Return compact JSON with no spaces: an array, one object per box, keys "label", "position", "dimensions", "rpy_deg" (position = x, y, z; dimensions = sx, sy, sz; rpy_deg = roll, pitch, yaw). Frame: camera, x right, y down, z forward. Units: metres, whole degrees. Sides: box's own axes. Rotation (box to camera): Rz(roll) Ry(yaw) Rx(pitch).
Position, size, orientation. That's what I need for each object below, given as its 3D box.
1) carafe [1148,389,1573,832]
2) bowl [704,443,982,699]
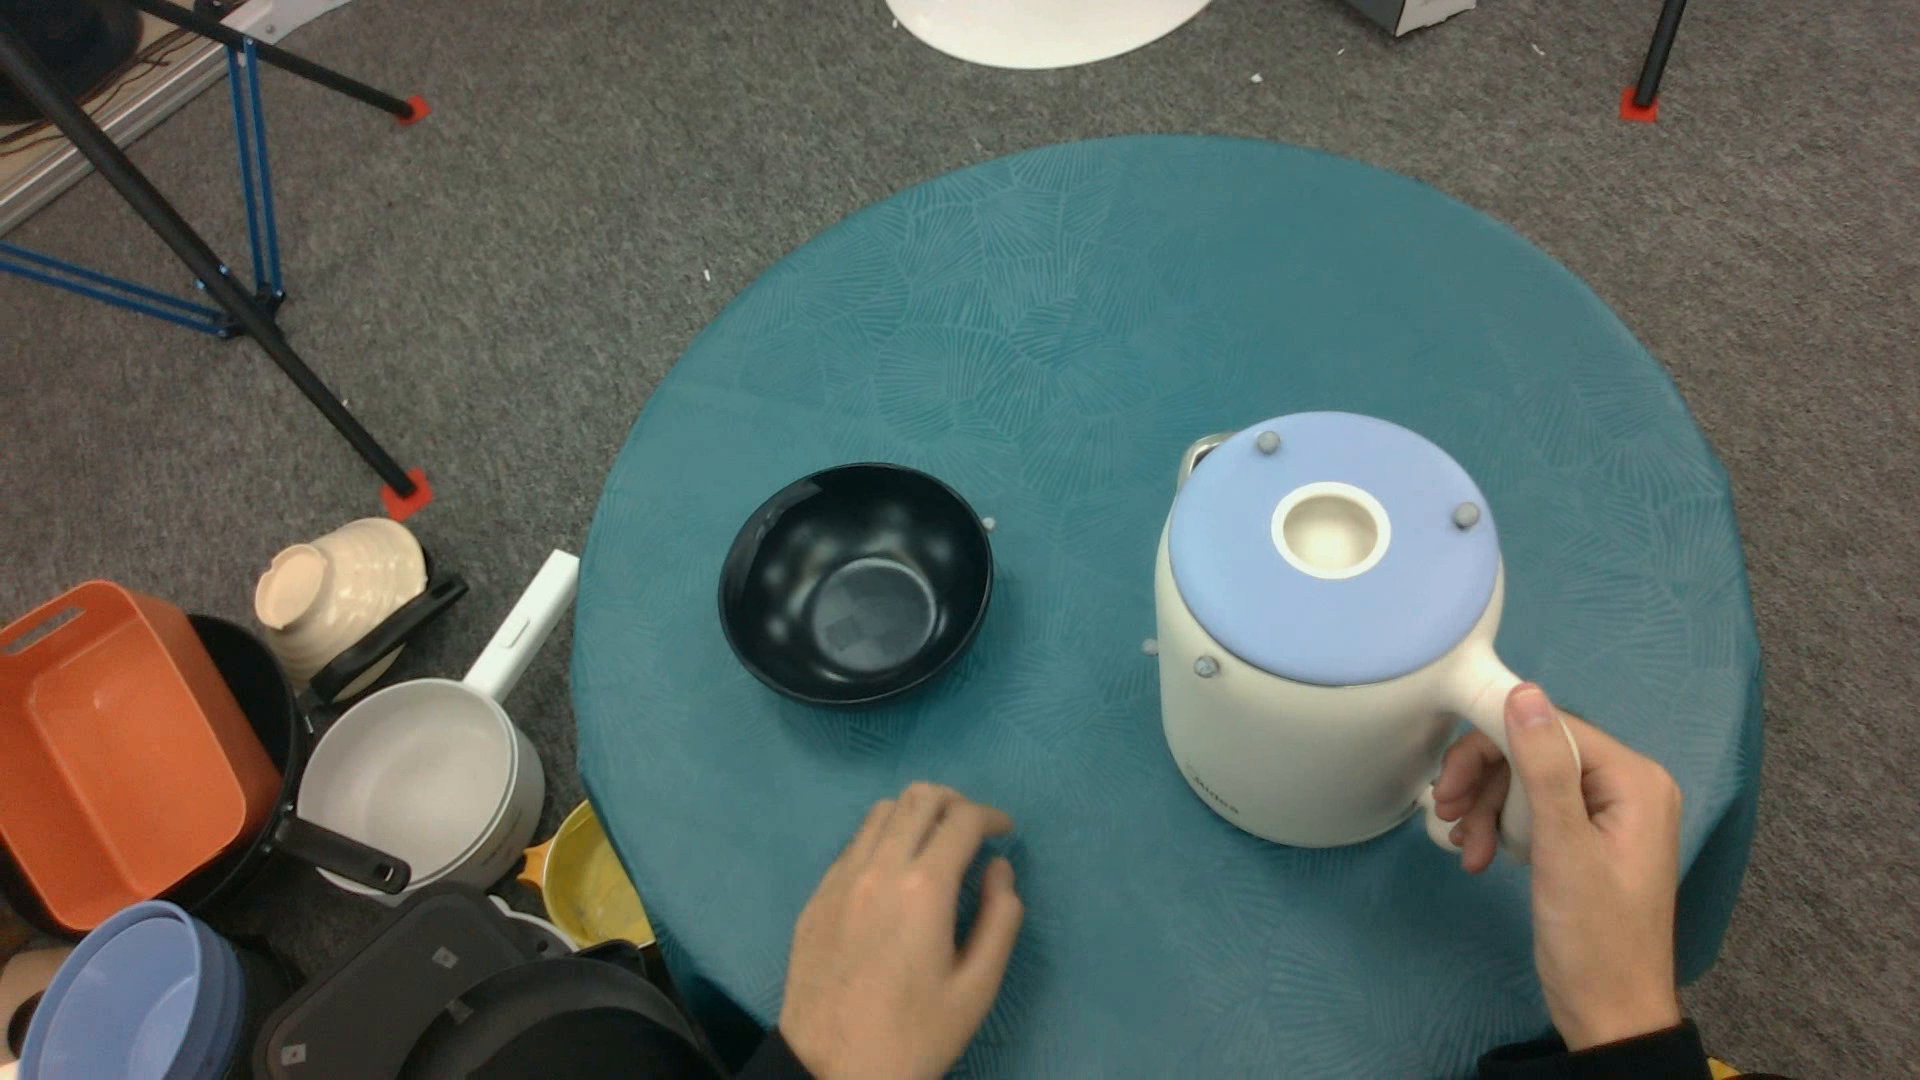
[{"label":"carafe","position":[0.163,0.048,0.573],"dimensions":[0.132,0.182,0.191],"rpy_deg":[-43,64,-15]},{"label":"bowl","position":[-0.055,0.022,0.695],"dimensions":[0.140,0.049,0.140],"rpy_deg":[-3,61,6]}]
